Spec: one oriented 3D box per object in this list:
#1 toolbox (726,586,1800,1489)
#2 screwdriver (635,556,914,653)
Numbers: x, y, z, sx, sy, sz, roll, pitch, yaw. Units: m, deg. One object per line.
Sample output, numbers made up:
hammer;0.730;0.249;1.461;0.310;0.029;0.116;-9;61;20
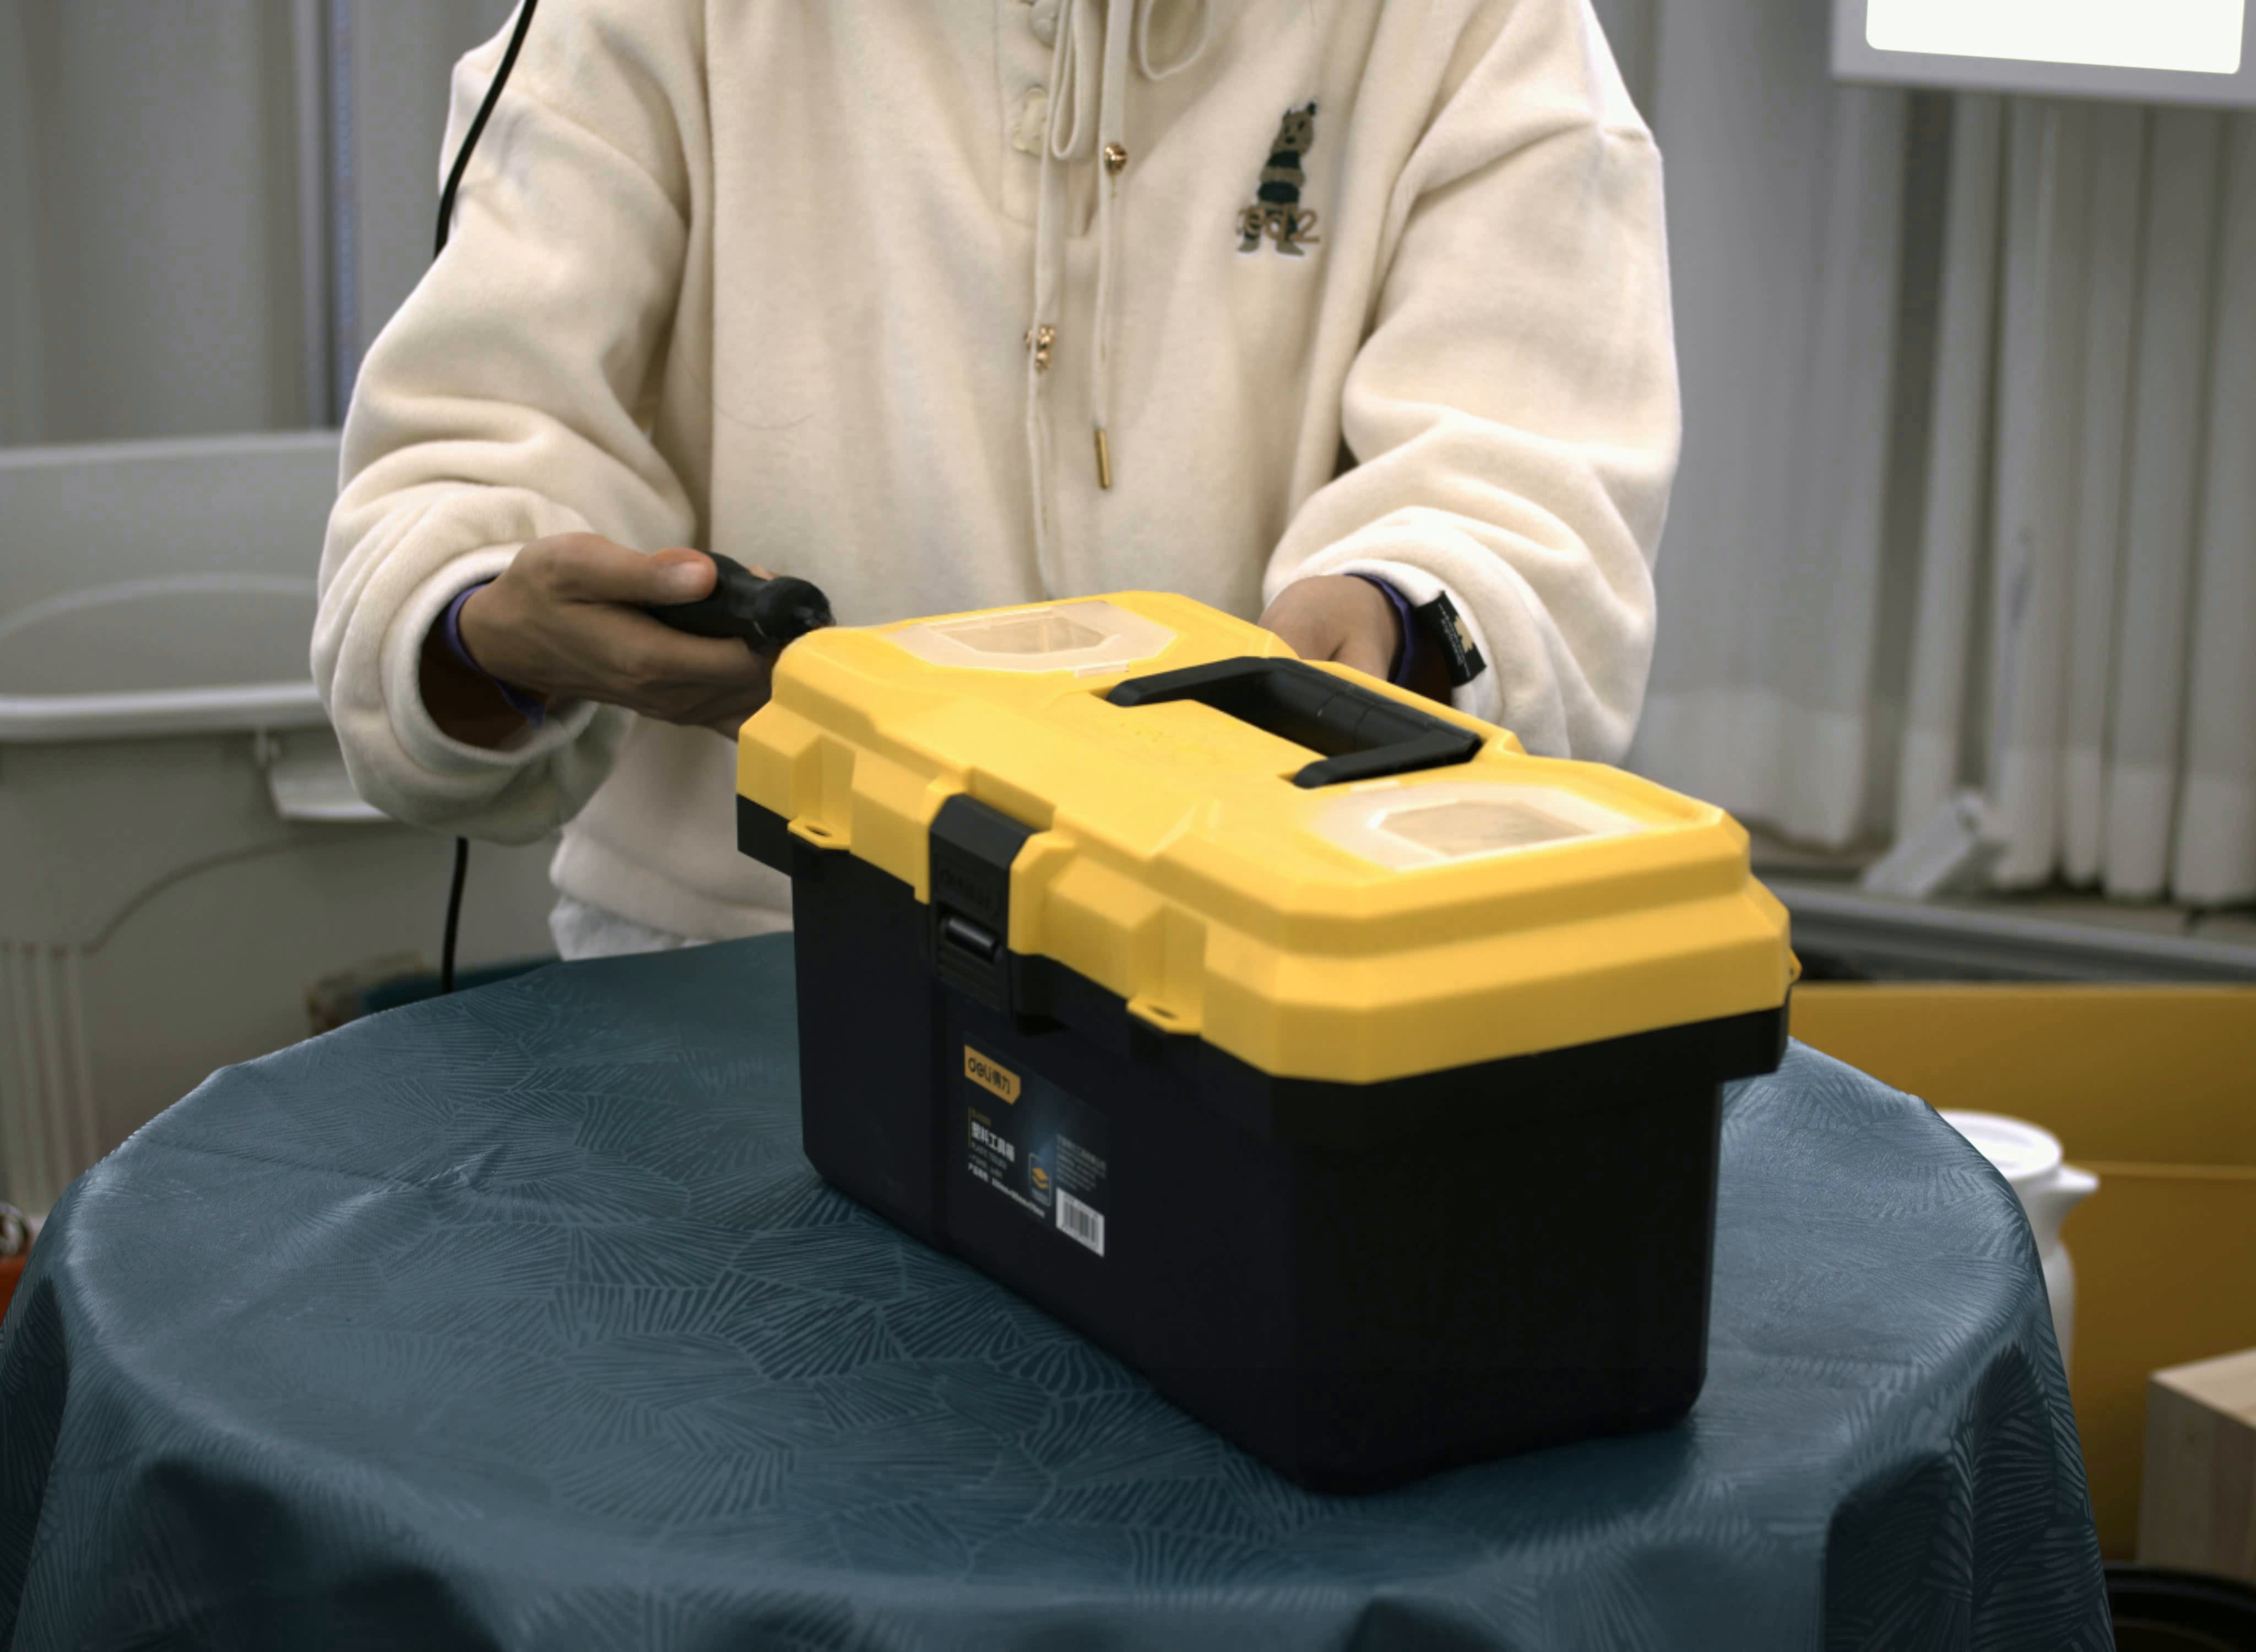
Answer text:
toolbox;0.030;0.051;1.516;0.182;0.174;0.347;-8;18;-29
screwdriver;-0.104;-0.064;1.712;0.031;0.032;0.193;-11;17;-35
